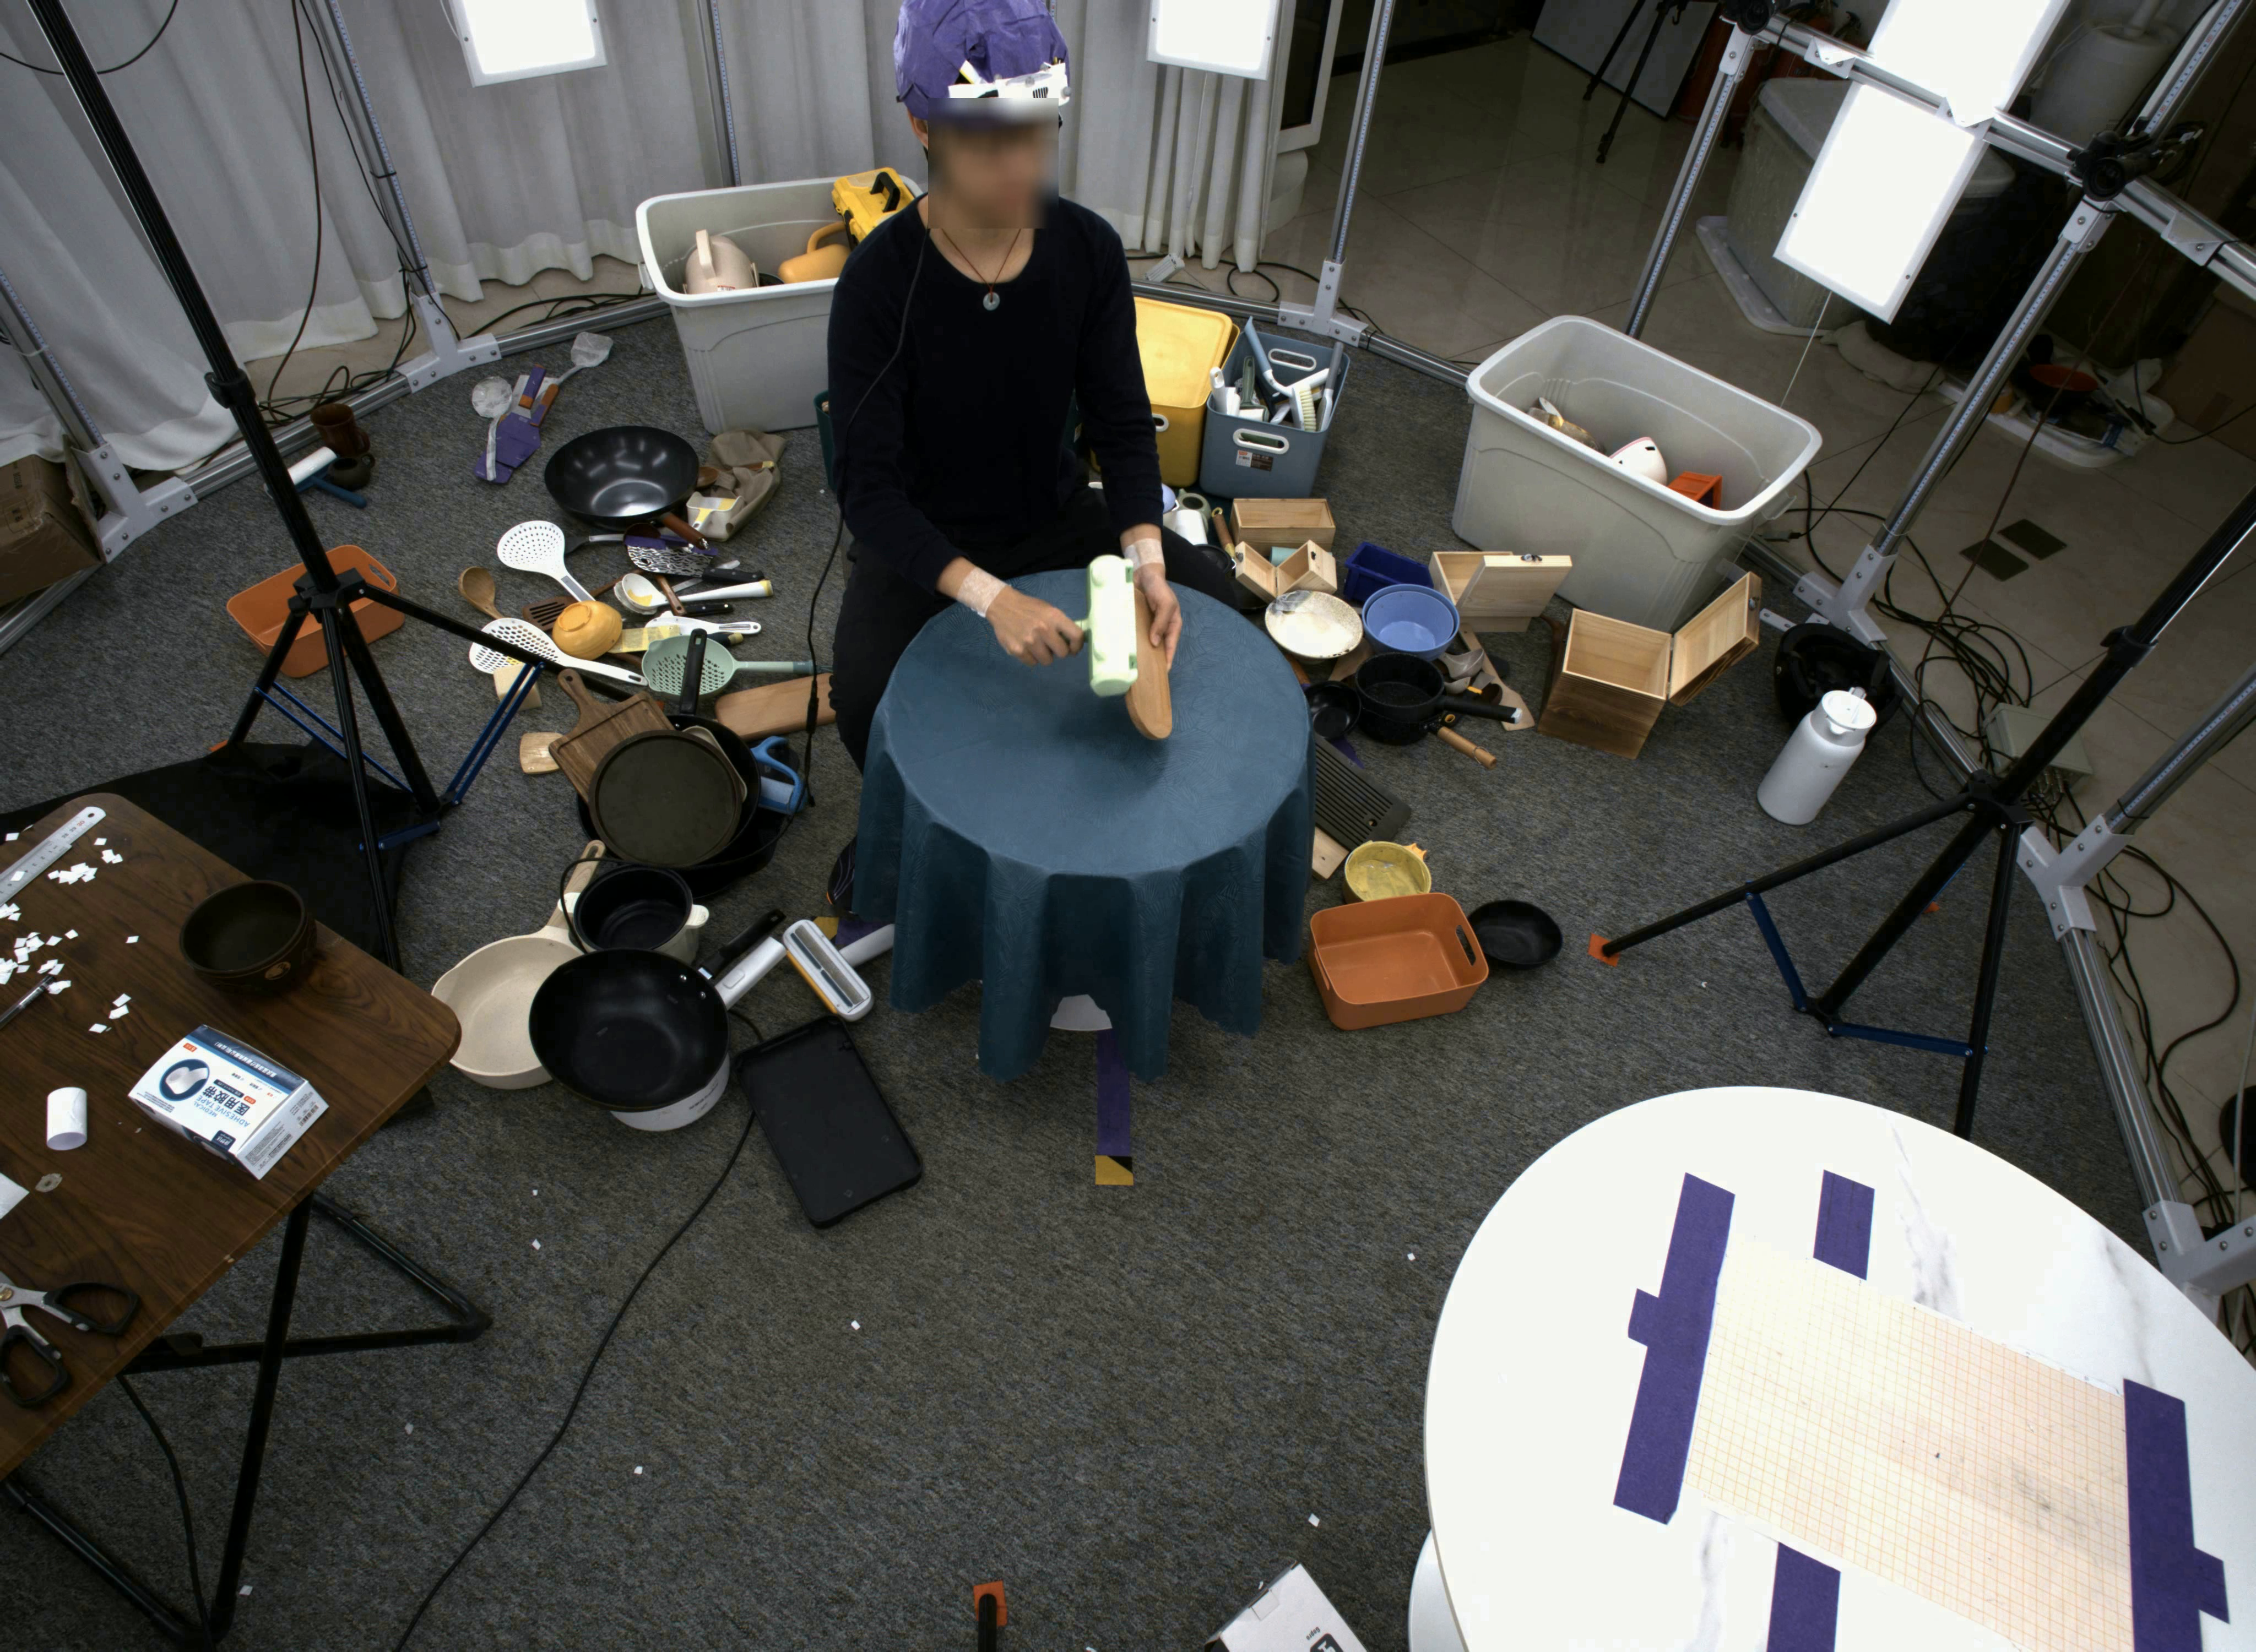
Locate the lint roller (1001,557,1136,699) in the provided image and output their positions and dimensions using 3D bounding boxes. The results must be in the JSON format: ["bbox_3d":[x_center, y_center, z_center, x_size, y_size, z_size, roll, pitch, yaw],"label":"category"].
[{"bbox_3d":[-0.084,-0.263,1.707,0.183,0.080,0.202,-4,64,4],"label":"lint roller"}]

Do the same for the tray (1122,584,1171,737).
[{"bbox_3d":[0.019,-0.226,1.752,0.020,0.100,0.236,-22,59,28],"label":"tray"}]
